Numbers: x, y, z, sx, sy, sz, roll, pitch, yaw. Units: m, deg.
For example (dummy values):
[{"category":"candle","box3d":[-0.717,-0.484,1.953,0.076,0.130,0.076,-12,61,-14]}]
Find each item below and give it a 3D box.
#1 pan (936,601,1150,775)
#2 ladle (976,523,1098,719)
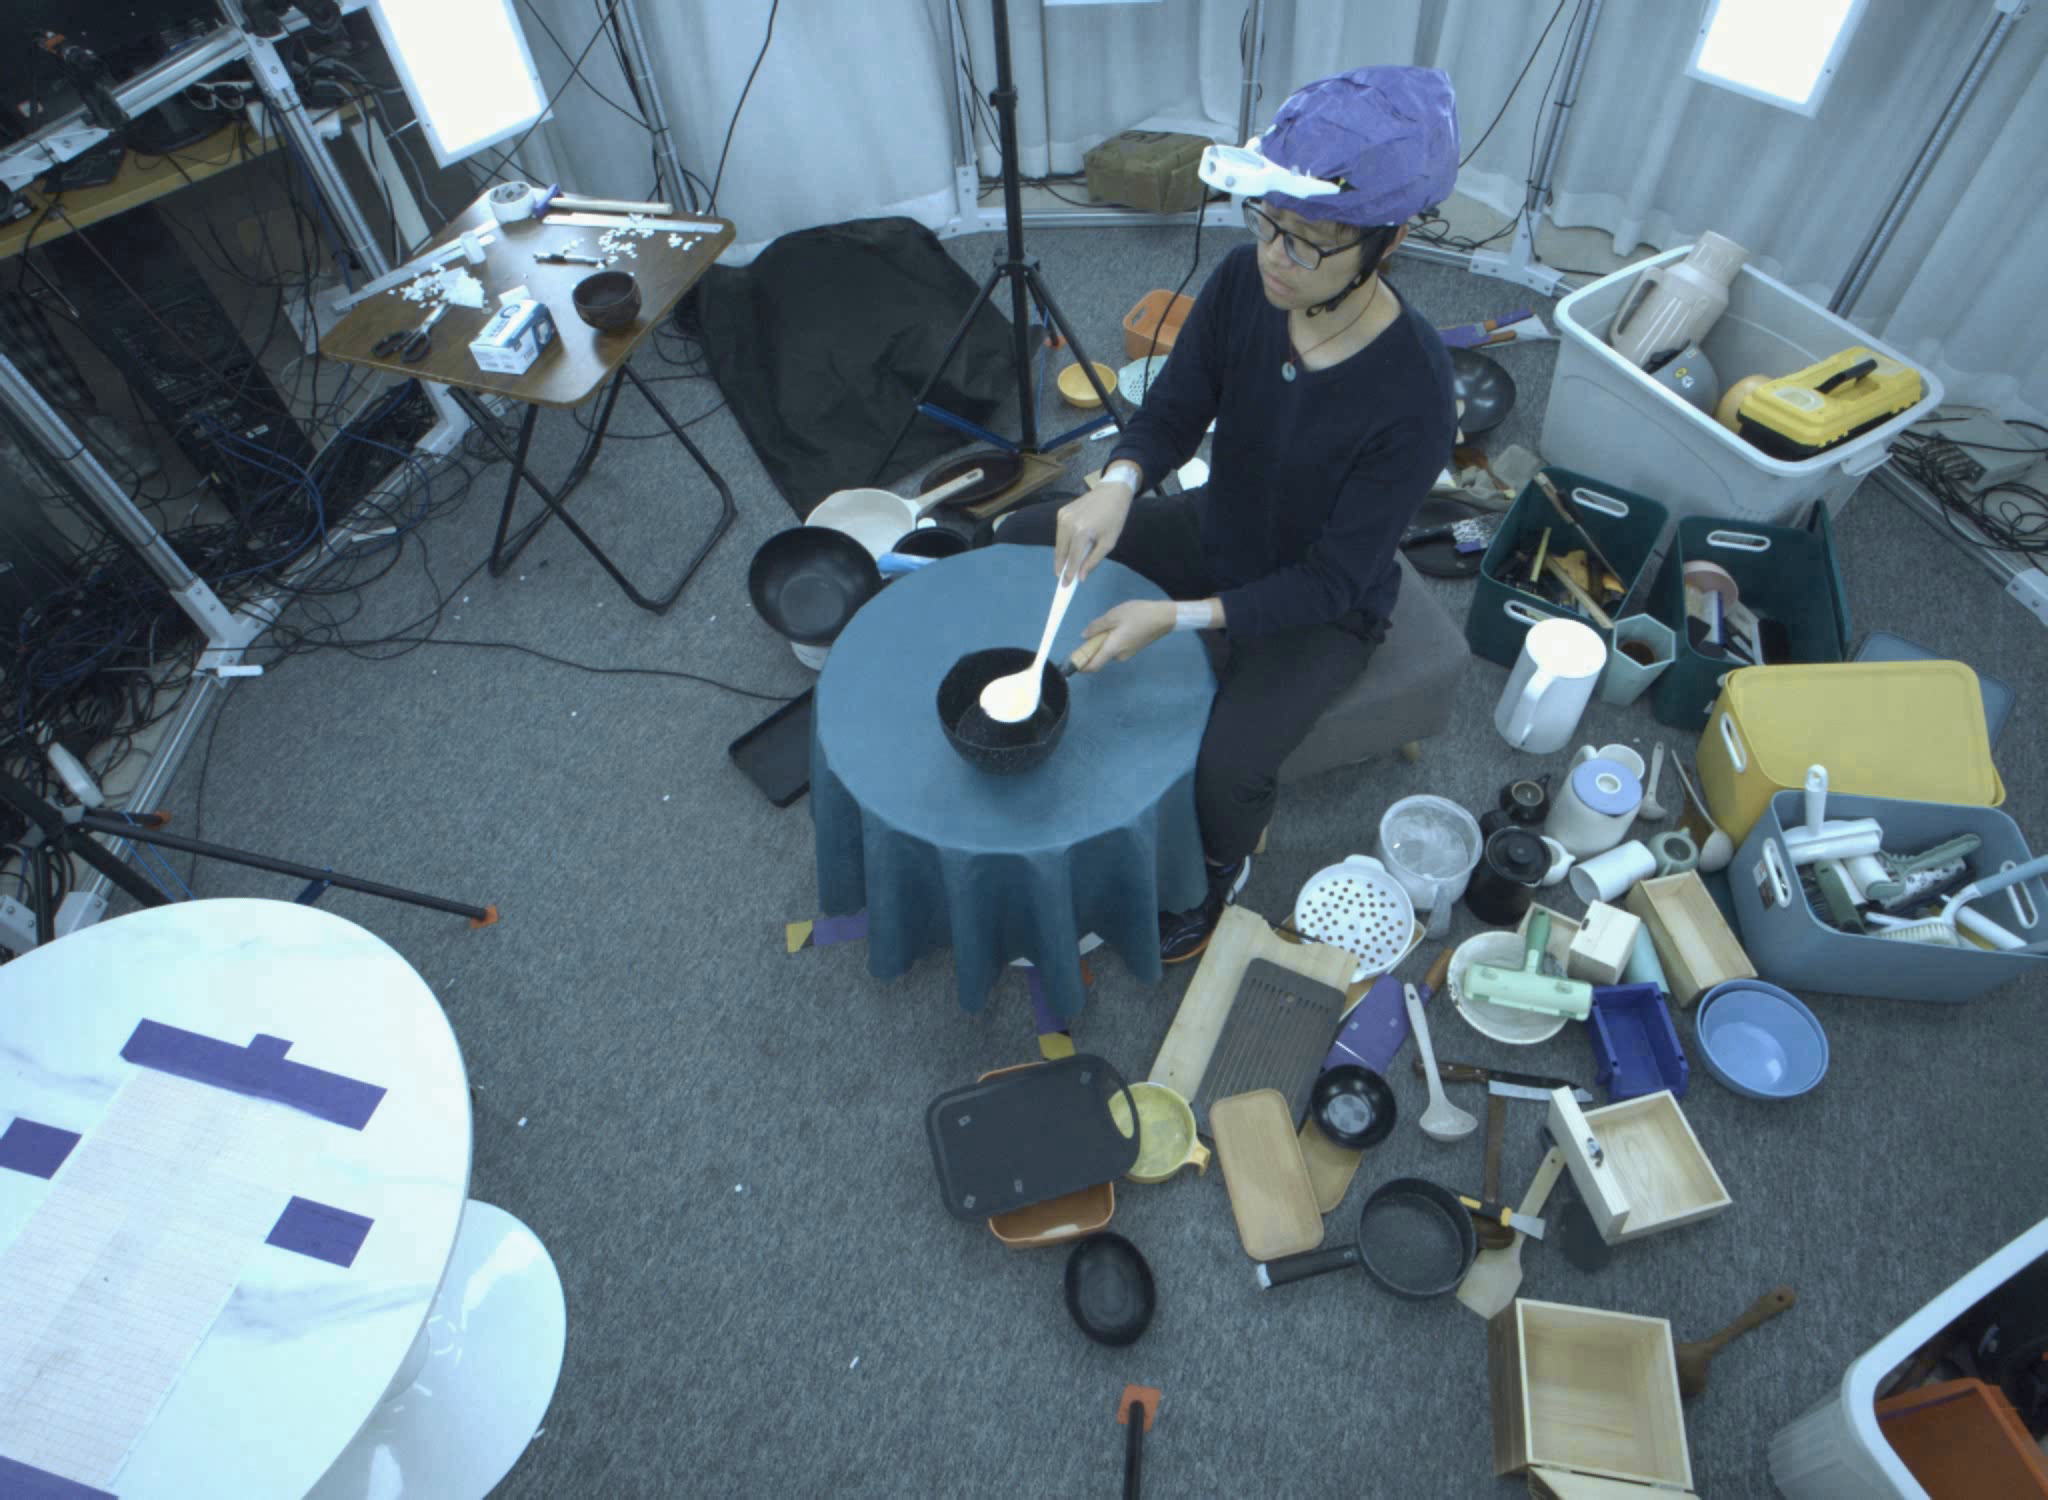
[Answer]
[{"category":"pan","box3d":[0.037,-0.097,1.741,0.345,0.109,0.203,-32,58,-18]},{"category":"ladle","box3d":[0.021,-0.178,1.704,0.088,0.071,0.293,32,105,42]}]
